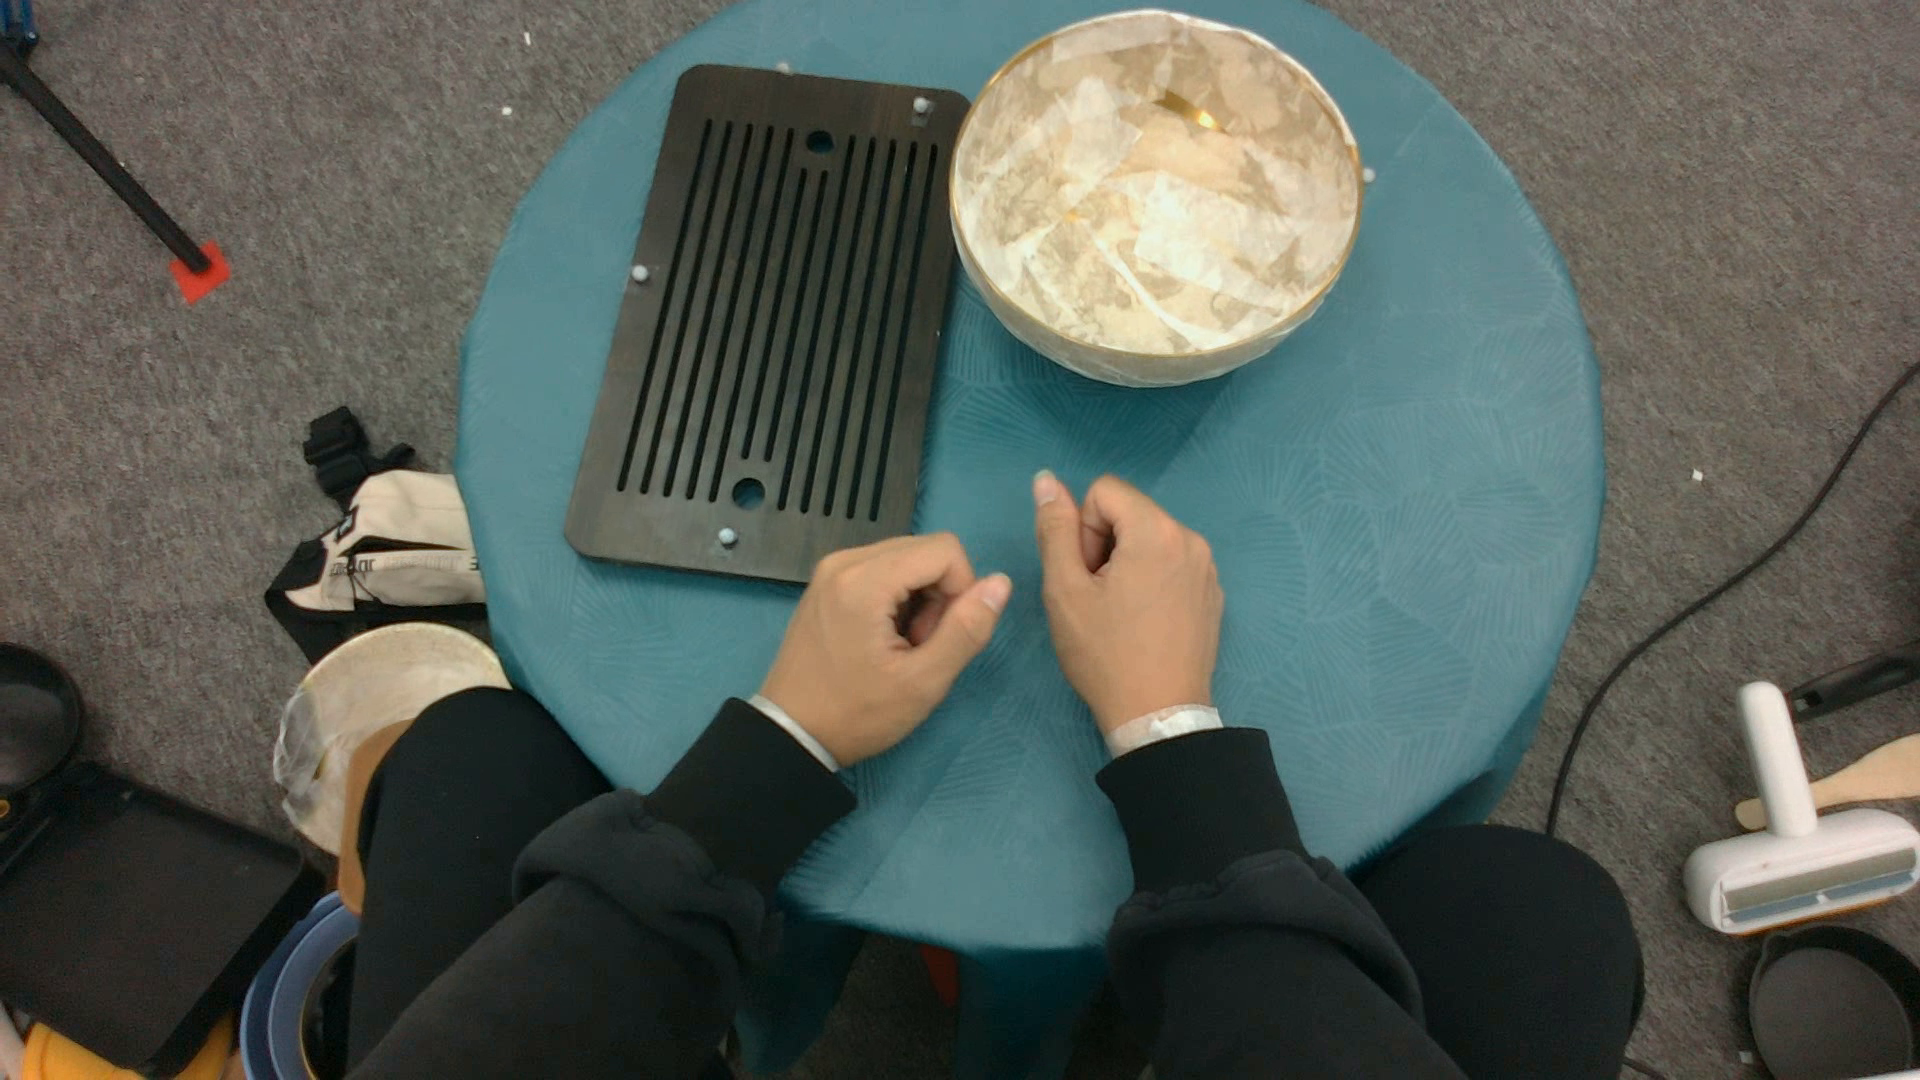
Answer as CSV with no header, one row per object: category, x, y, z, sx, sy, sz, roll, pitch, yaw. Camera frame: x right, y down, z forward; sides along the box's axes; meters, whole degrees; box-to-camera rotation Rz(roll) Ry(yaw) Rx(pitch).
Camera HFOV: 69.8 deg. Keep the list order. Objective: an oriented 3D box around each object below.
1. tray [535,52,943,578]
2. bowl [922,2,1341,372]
tray,-0.108,-0.129,0.731,0.170,0.018,0.307,7,67,2
bowl,0.080,-0.164,0.709,0.215,0.094,0.215,1,68,-2
